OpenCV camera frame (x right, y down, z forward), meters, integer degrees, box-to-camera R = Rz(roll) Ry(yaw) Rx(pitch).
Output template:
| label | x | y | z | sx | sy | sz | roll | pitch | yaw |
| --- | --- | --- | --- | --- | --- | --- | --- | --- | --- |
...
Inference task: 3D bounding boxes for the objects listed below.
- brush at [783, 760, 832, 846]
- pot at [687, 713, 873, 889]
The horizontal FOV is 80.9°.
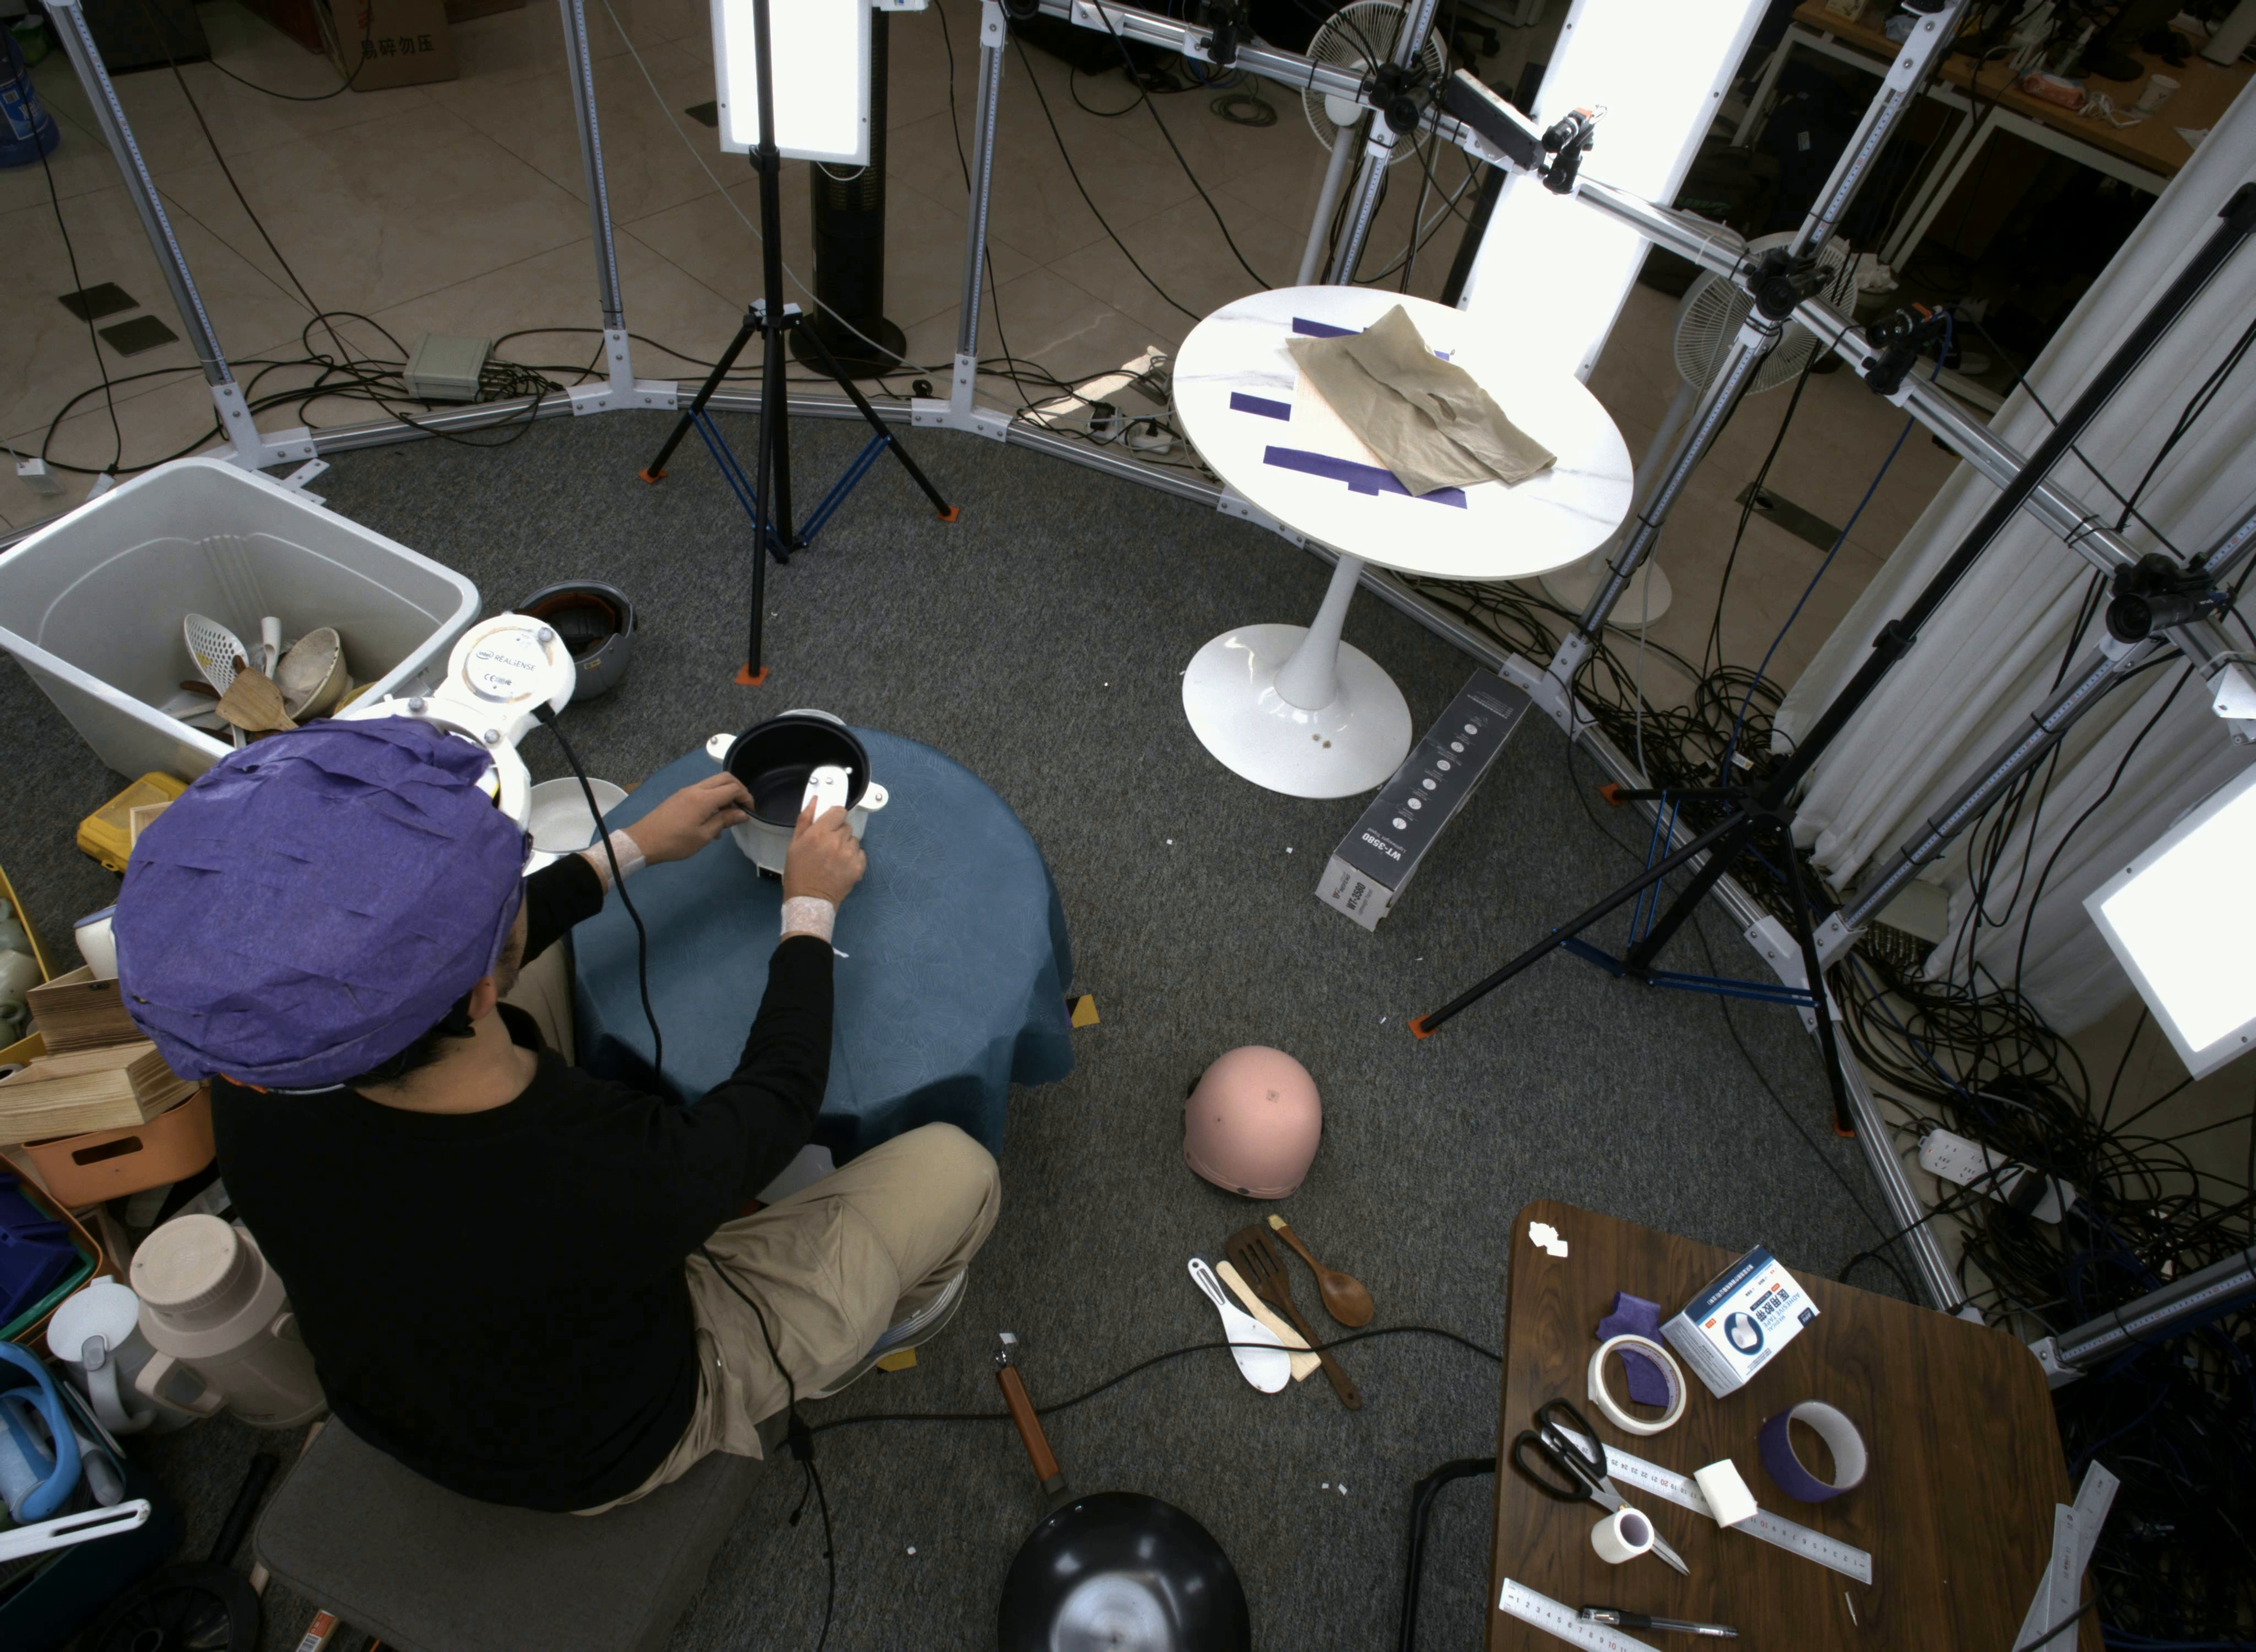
| label | x | y | z | sx | sy | sz | roll | pitch | yaw |
| --- | --- | --- | --- | --- | --- | --- | --- | --- | --- |
| brush | -0.377 | -0.030 | 1.528 | 0.051 | 0.071 | 0.100 | 13 | 82 | -16 |
| pot | -0.440 | -0.035 | 1.652 | 0.239 | 0.145 | 0.188 | 18 | 54 | -2 |
